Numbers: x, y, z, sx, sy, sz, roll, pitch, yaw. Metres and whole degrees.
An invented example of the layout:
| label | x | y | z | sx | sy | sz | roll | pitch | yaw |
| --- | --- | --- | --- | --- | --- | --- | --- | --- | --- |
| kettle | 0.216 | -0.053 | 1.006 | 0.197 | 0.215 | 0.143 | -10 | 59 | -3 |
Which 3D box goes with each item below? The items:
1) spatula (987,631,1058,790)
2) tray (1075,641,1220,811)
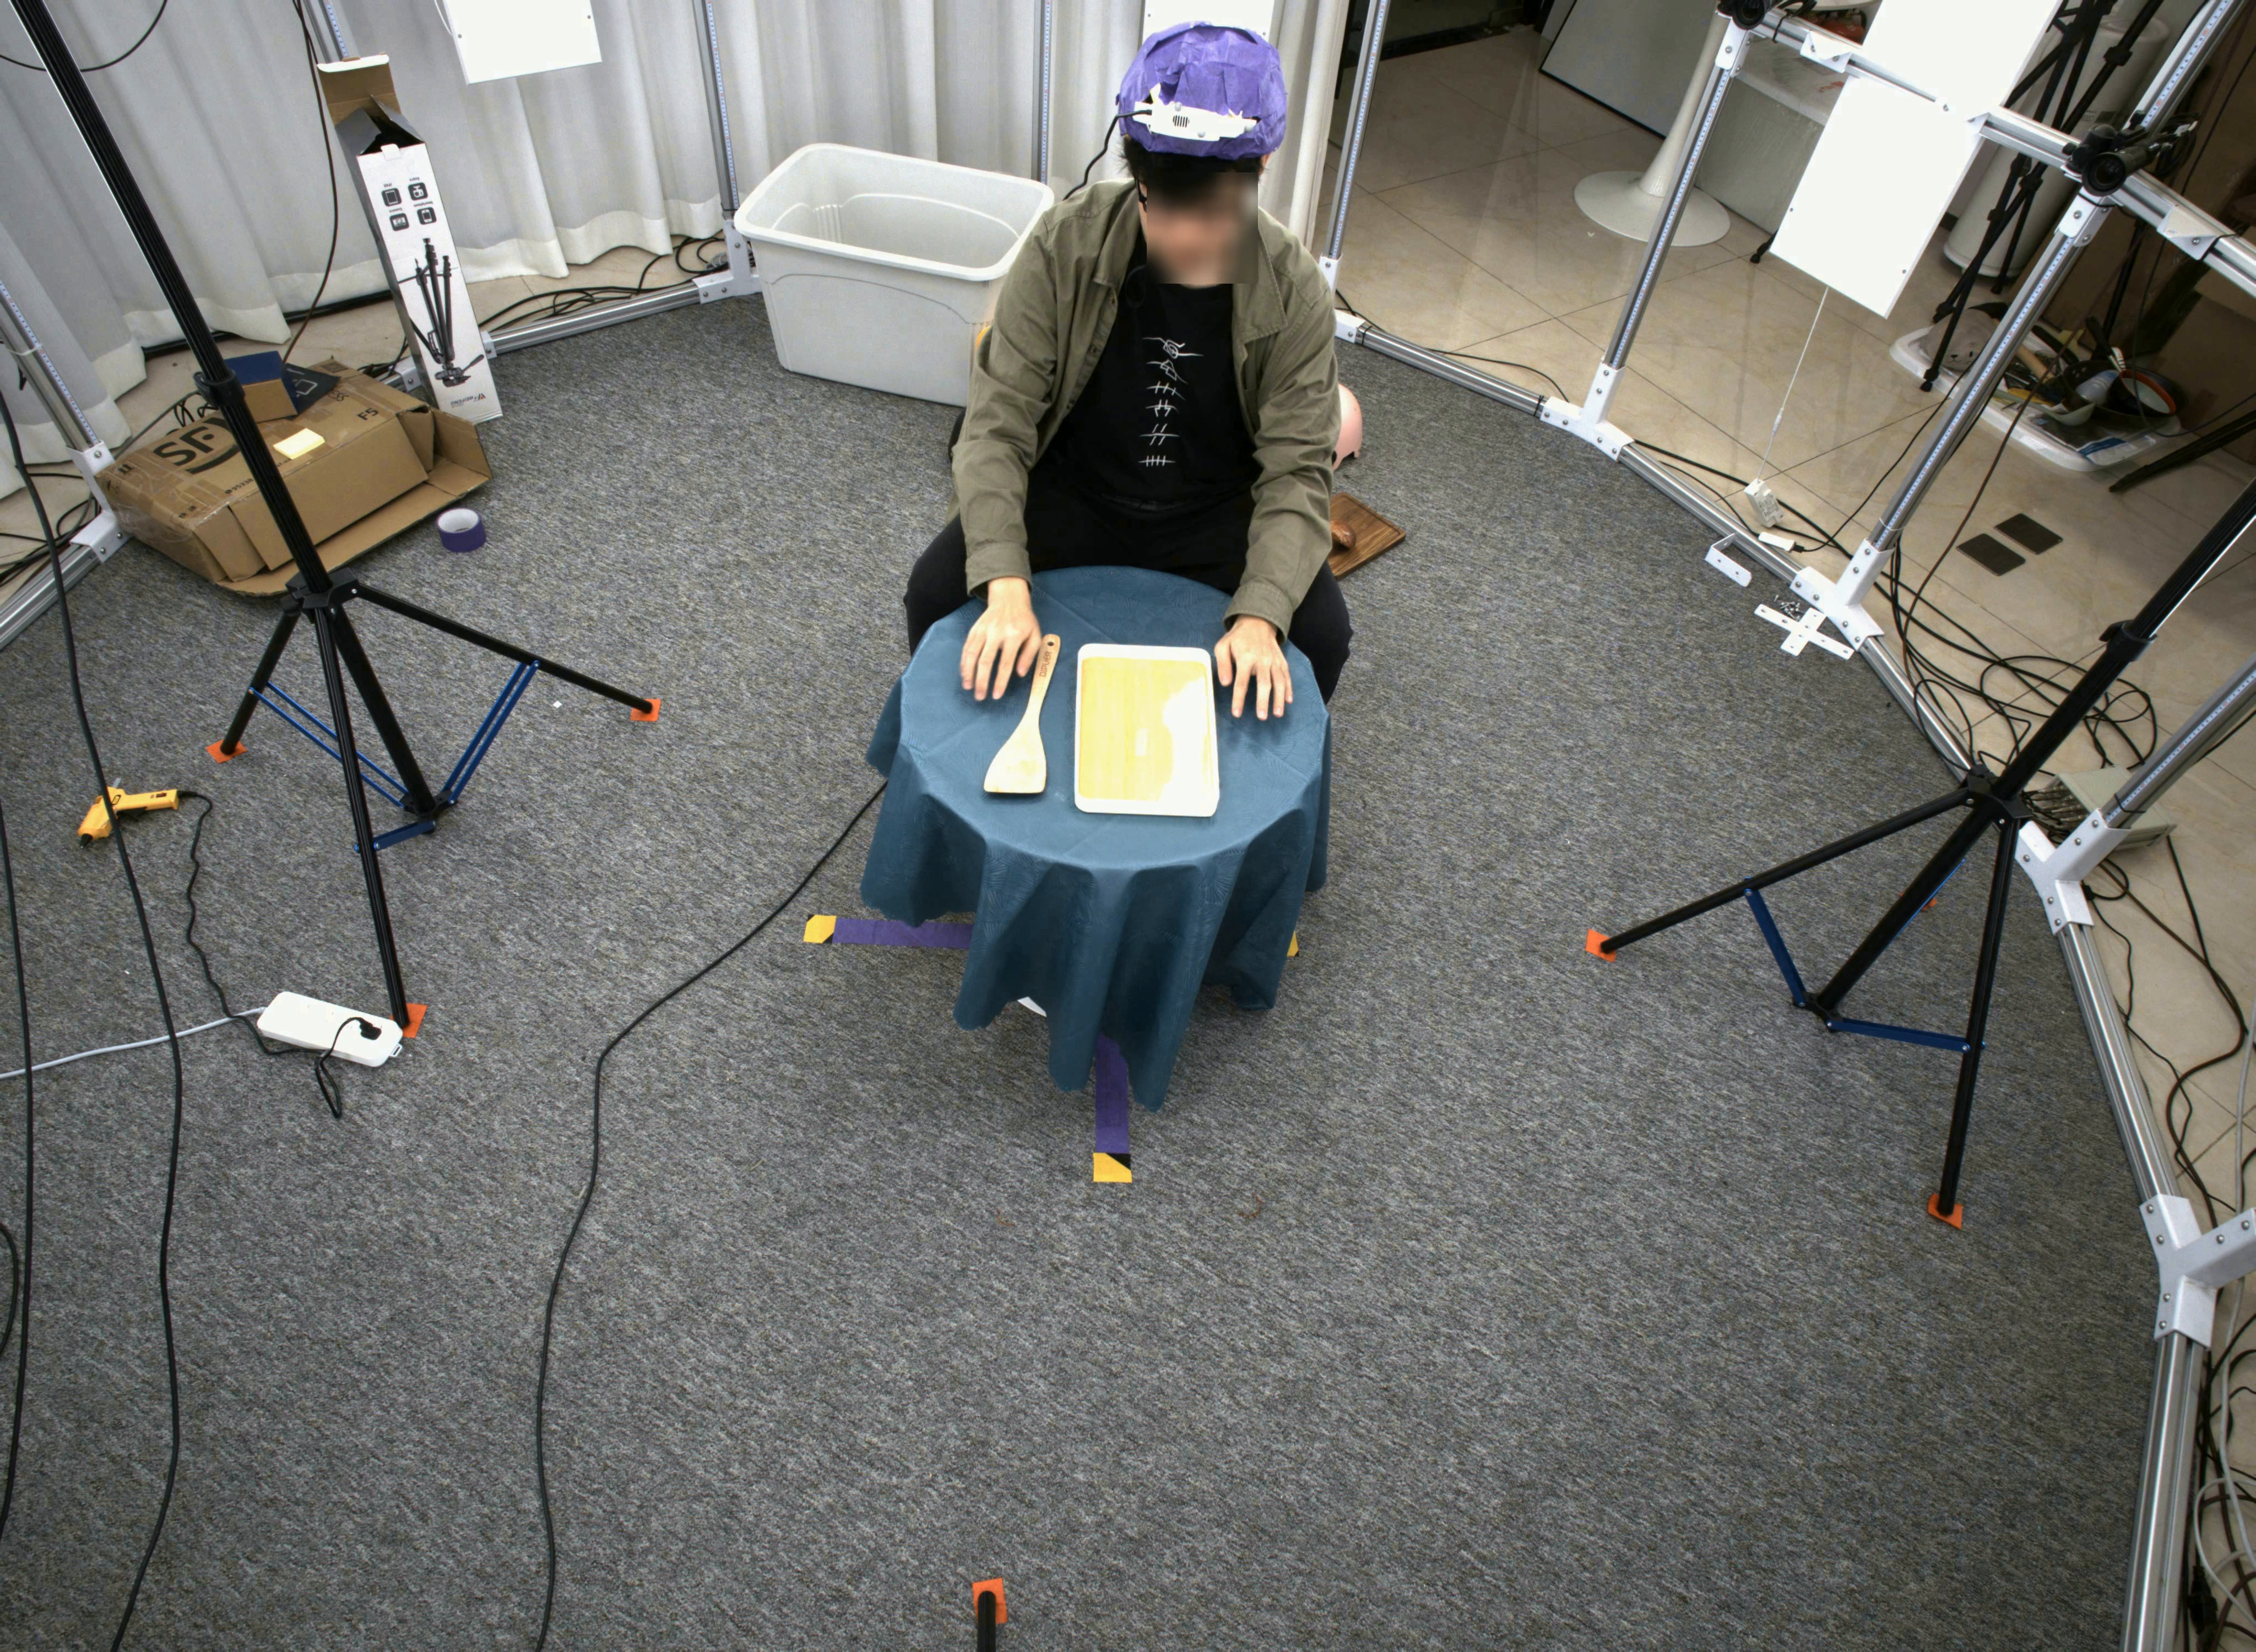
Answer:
| label | x | y | z | sx | sy | sz | roll | pitch | yaw |
| --- | --- | --- | --- | --- | --- | --- | --- | --- | --- |
| spatula | -0.130 | -0.165 | 1.780 | 0.080 | 0.016 | 0.335 | 7 | 49 | 1 |
| tray | 0.024 | -0.143 | 1.766 | 0.191 | 0.027 | 0.308 | 3 | 47 | -3 |
